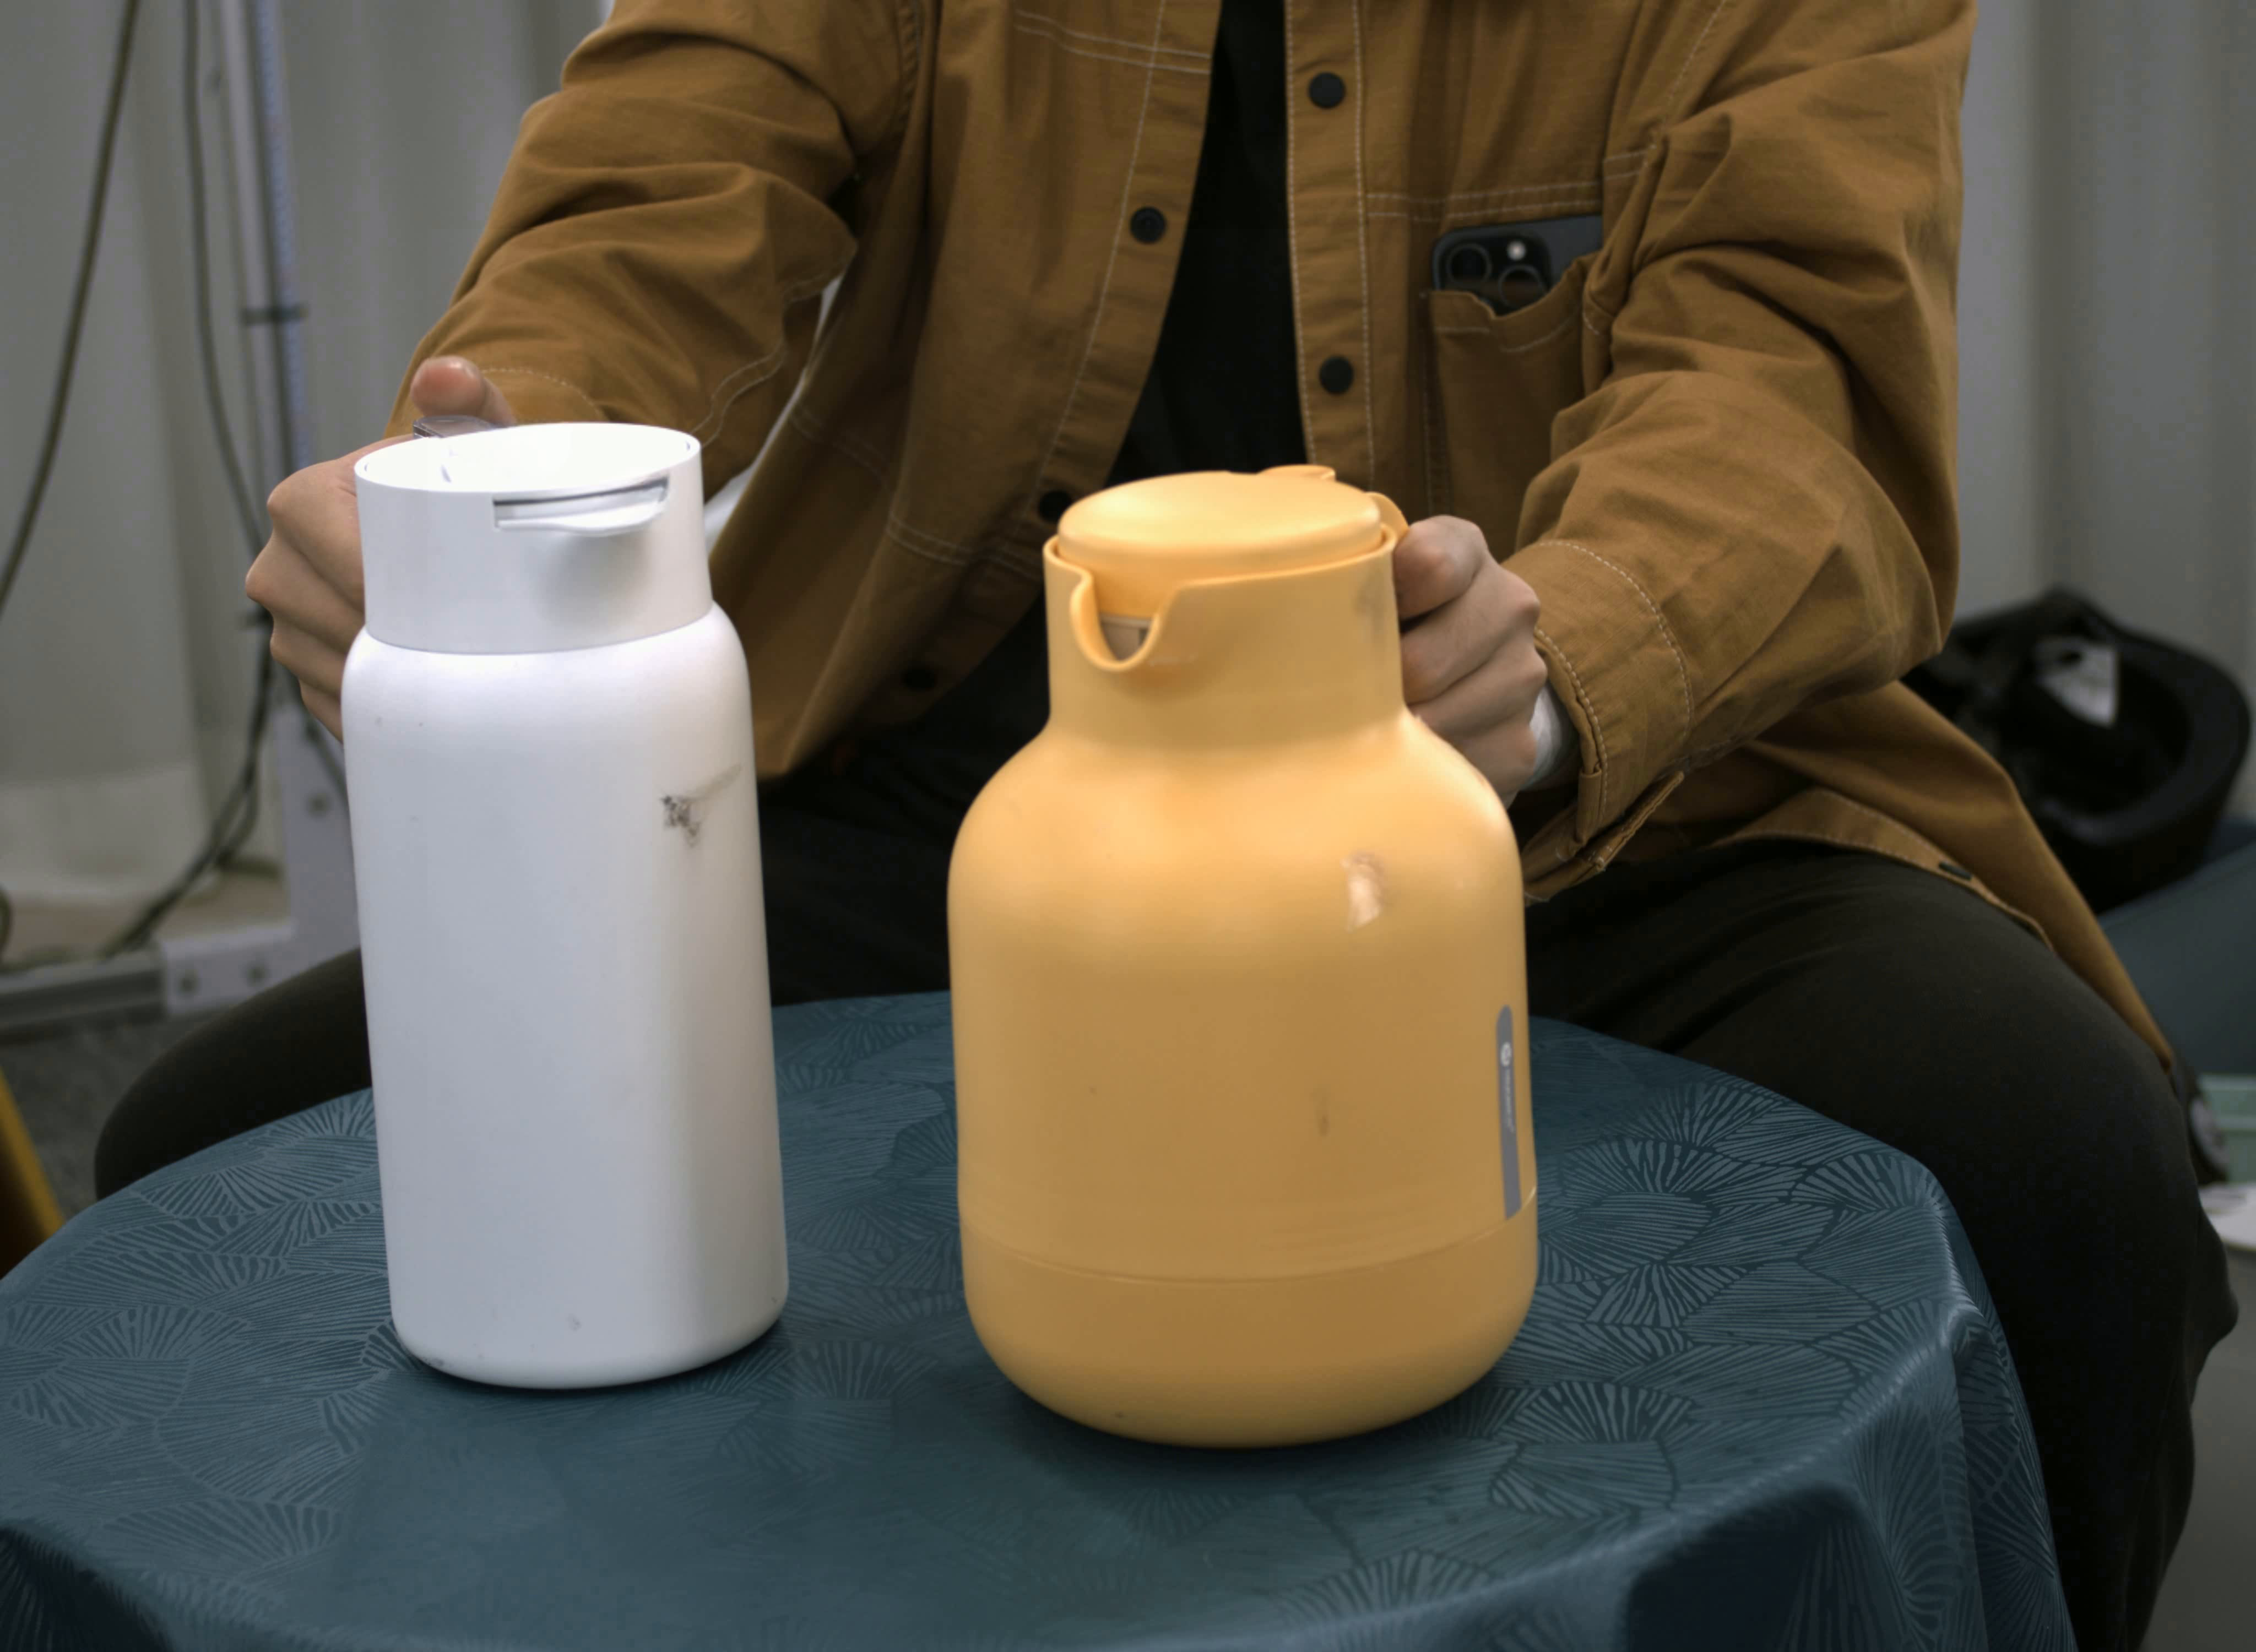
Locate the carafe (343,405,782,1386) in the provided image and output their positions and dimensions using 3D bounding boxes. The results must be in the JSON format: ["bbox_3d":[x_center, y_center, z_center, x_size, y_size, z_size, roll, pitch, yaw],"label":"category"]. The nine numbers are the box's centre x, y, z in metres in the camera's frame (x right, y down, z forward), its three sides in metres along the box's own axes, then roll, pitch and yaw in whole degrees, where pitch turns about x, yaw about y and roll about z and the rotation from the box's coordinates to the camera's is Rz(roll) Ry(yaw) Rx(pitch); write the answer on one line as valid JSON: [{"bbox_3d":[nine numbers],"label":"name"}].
[{"bbox_3d":[-0.173,0.016,1.600,0.123,0.267,0.174,-12,17,-25],"label":"carafe"}]

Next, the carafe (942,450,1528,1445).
[{"bbox_3d":[0.039,0.025,1.534,0.164,0.259,0.203,7,18,26],"label":"carafe"}]
